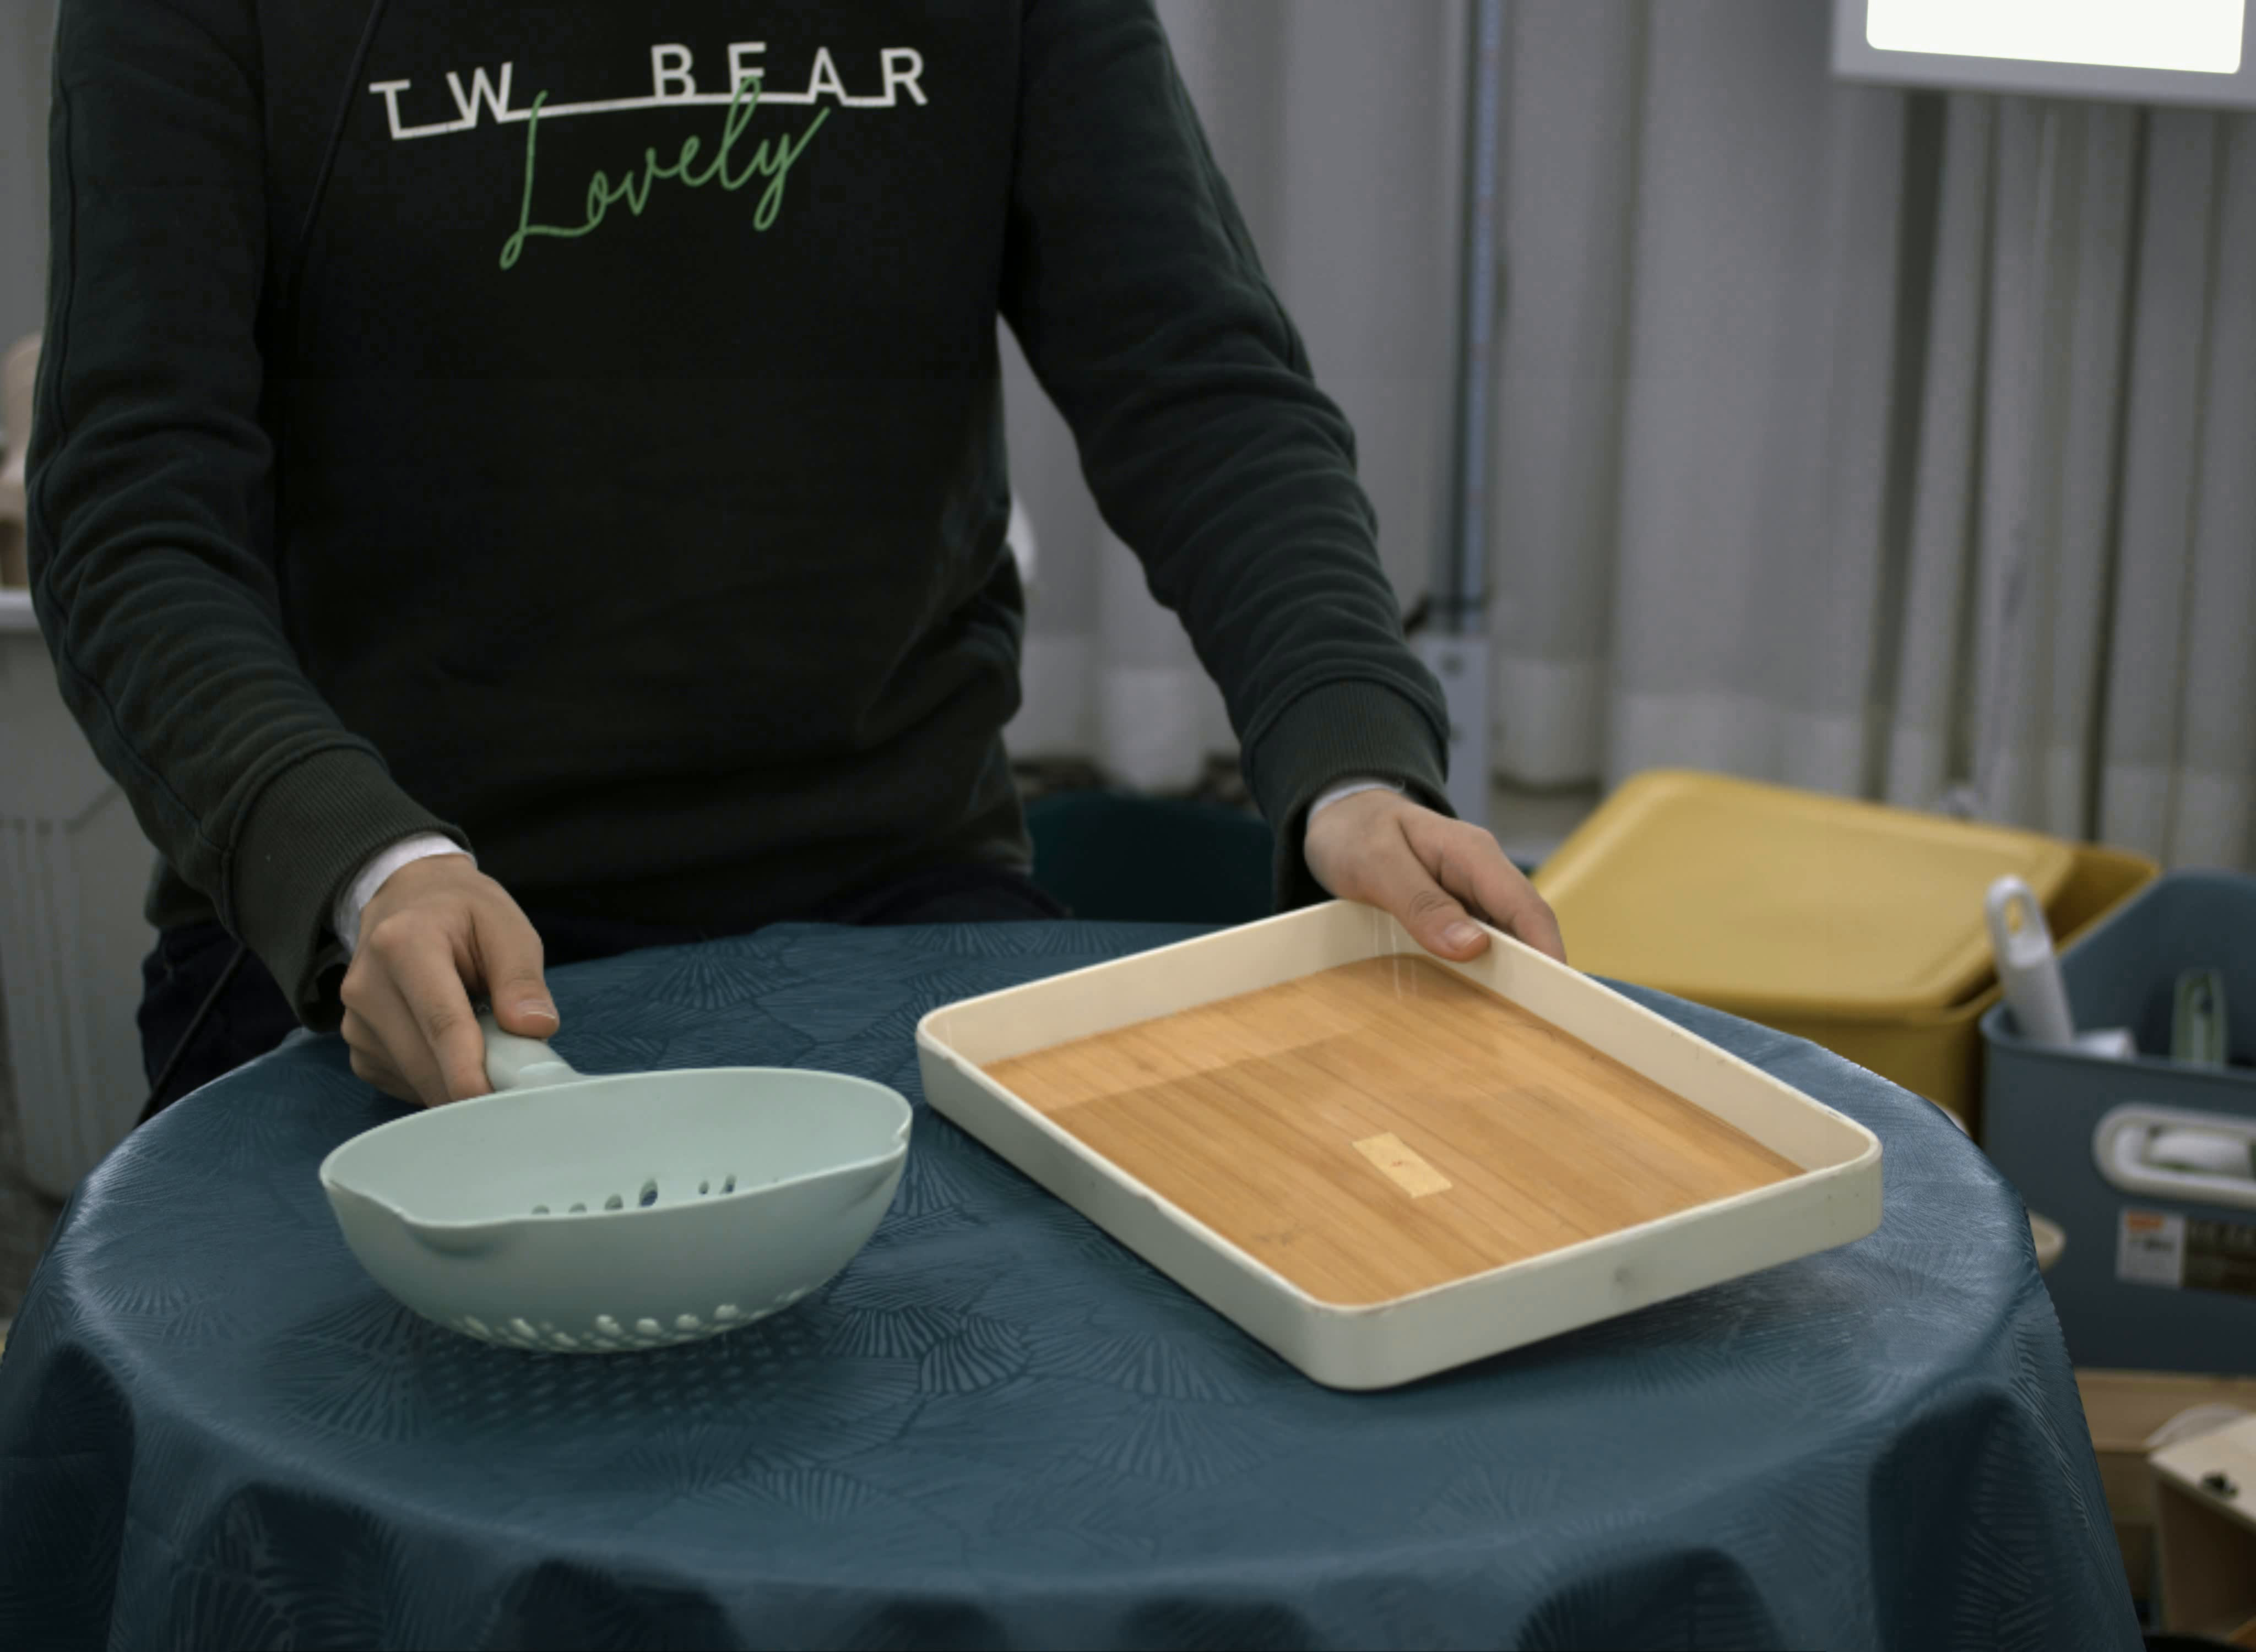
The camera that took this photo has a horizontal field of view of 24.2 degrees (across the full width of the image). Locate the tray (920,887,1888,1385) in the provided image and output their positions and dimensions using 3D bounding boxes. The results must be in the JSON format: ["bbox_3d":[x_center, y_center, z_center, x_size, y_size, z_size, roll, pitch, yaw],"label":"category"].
[{"bbox_3d":[0.078,0.089,1.615,0.192,0.027,0.296,-14,21,-23],"label":"tray"}]

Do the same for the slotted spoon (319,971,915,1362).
[{"bbox_3d":[-0.172,0.085,1.583,0.169,0.076,0.355,-8,20,-16],"label":"slotted spoon"}]
